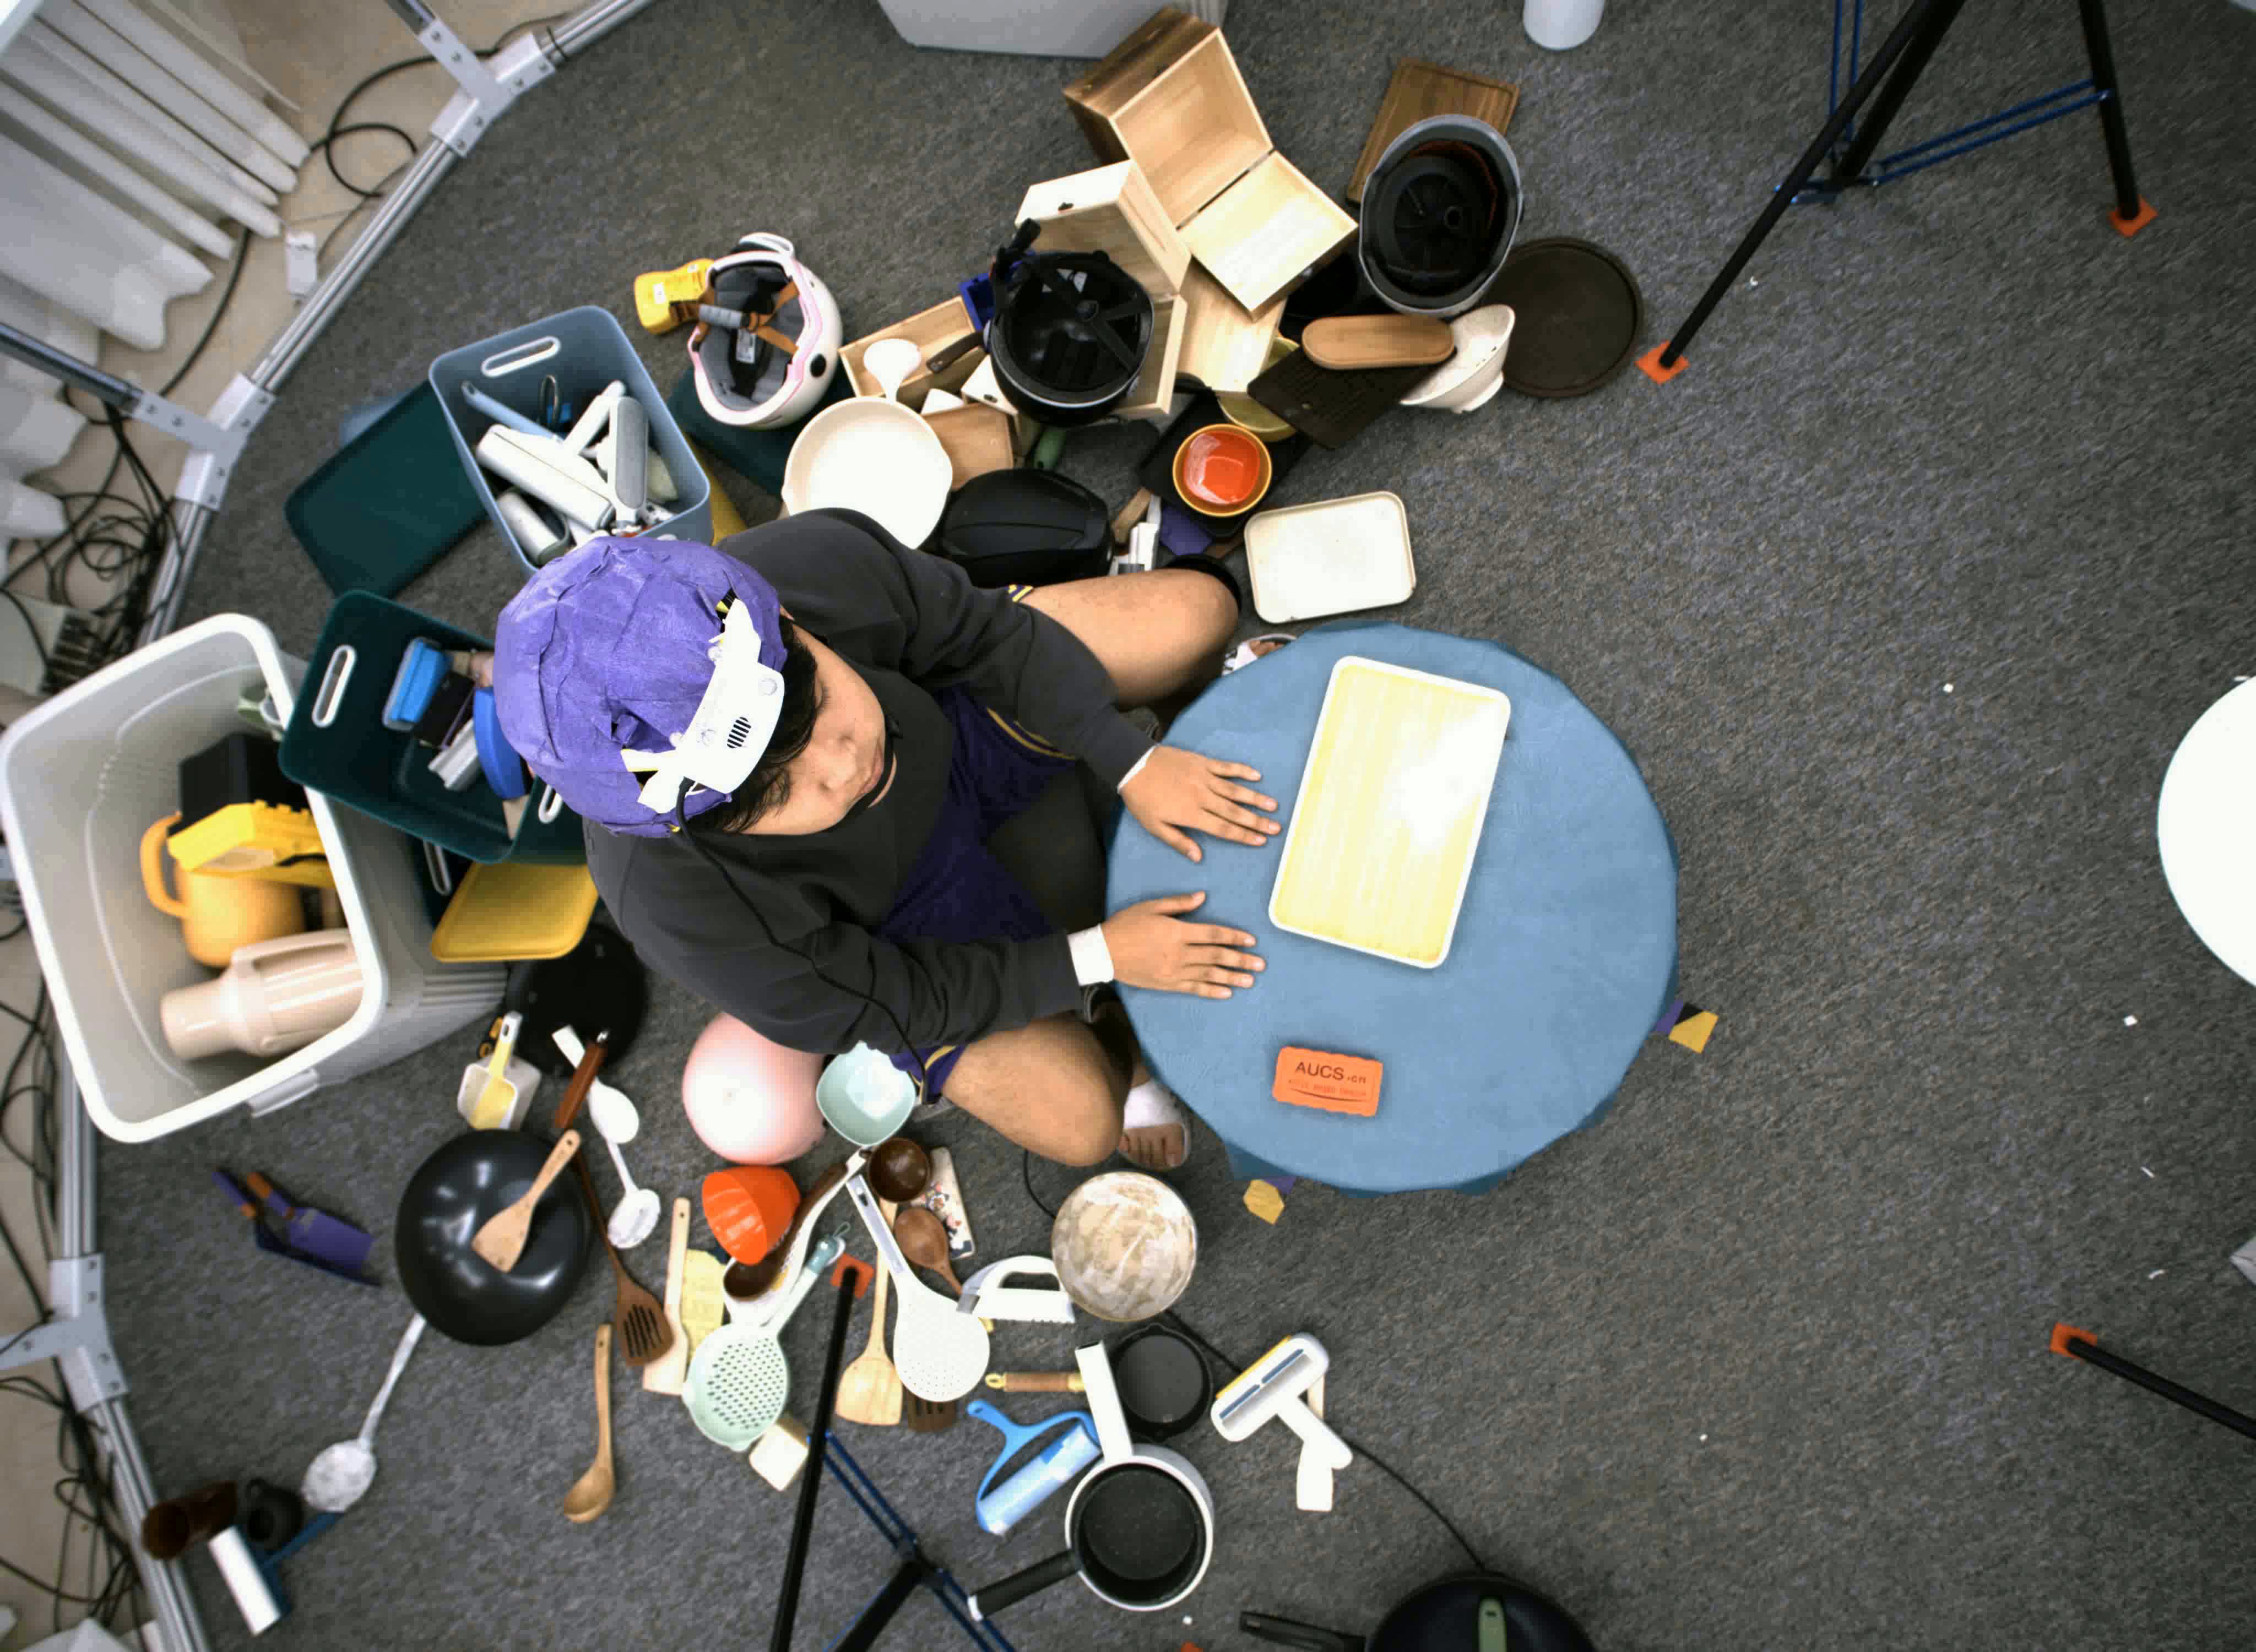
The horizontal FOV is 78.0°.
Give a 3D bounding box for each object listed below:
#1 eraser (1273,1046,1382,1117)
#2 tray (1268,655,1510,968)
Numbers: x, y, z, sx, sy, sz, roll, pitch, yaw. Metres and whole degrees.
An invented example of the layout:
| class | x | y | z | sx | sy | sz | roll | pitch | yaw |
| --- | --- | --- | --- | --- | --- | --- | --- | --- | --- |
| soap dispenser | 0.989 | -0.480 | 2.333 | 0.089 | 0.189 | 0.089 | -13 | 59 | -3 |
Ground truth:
| class | x | y | z | sx | sy | sz | roll | pitch | yaw |
| --- | --- | --- | --- | --- | --- | --- | --- | --- | --- |
| eraser | 0.209 | 0.265 | 1.447 | 0.108 | 0.023 | 0.059 | 8 | 90 | 11 |
| tray | 0.274 | -0.018 | 1.450 | 0.192 | 0.027 | 0.300 | 15 | 90 | 11 |
